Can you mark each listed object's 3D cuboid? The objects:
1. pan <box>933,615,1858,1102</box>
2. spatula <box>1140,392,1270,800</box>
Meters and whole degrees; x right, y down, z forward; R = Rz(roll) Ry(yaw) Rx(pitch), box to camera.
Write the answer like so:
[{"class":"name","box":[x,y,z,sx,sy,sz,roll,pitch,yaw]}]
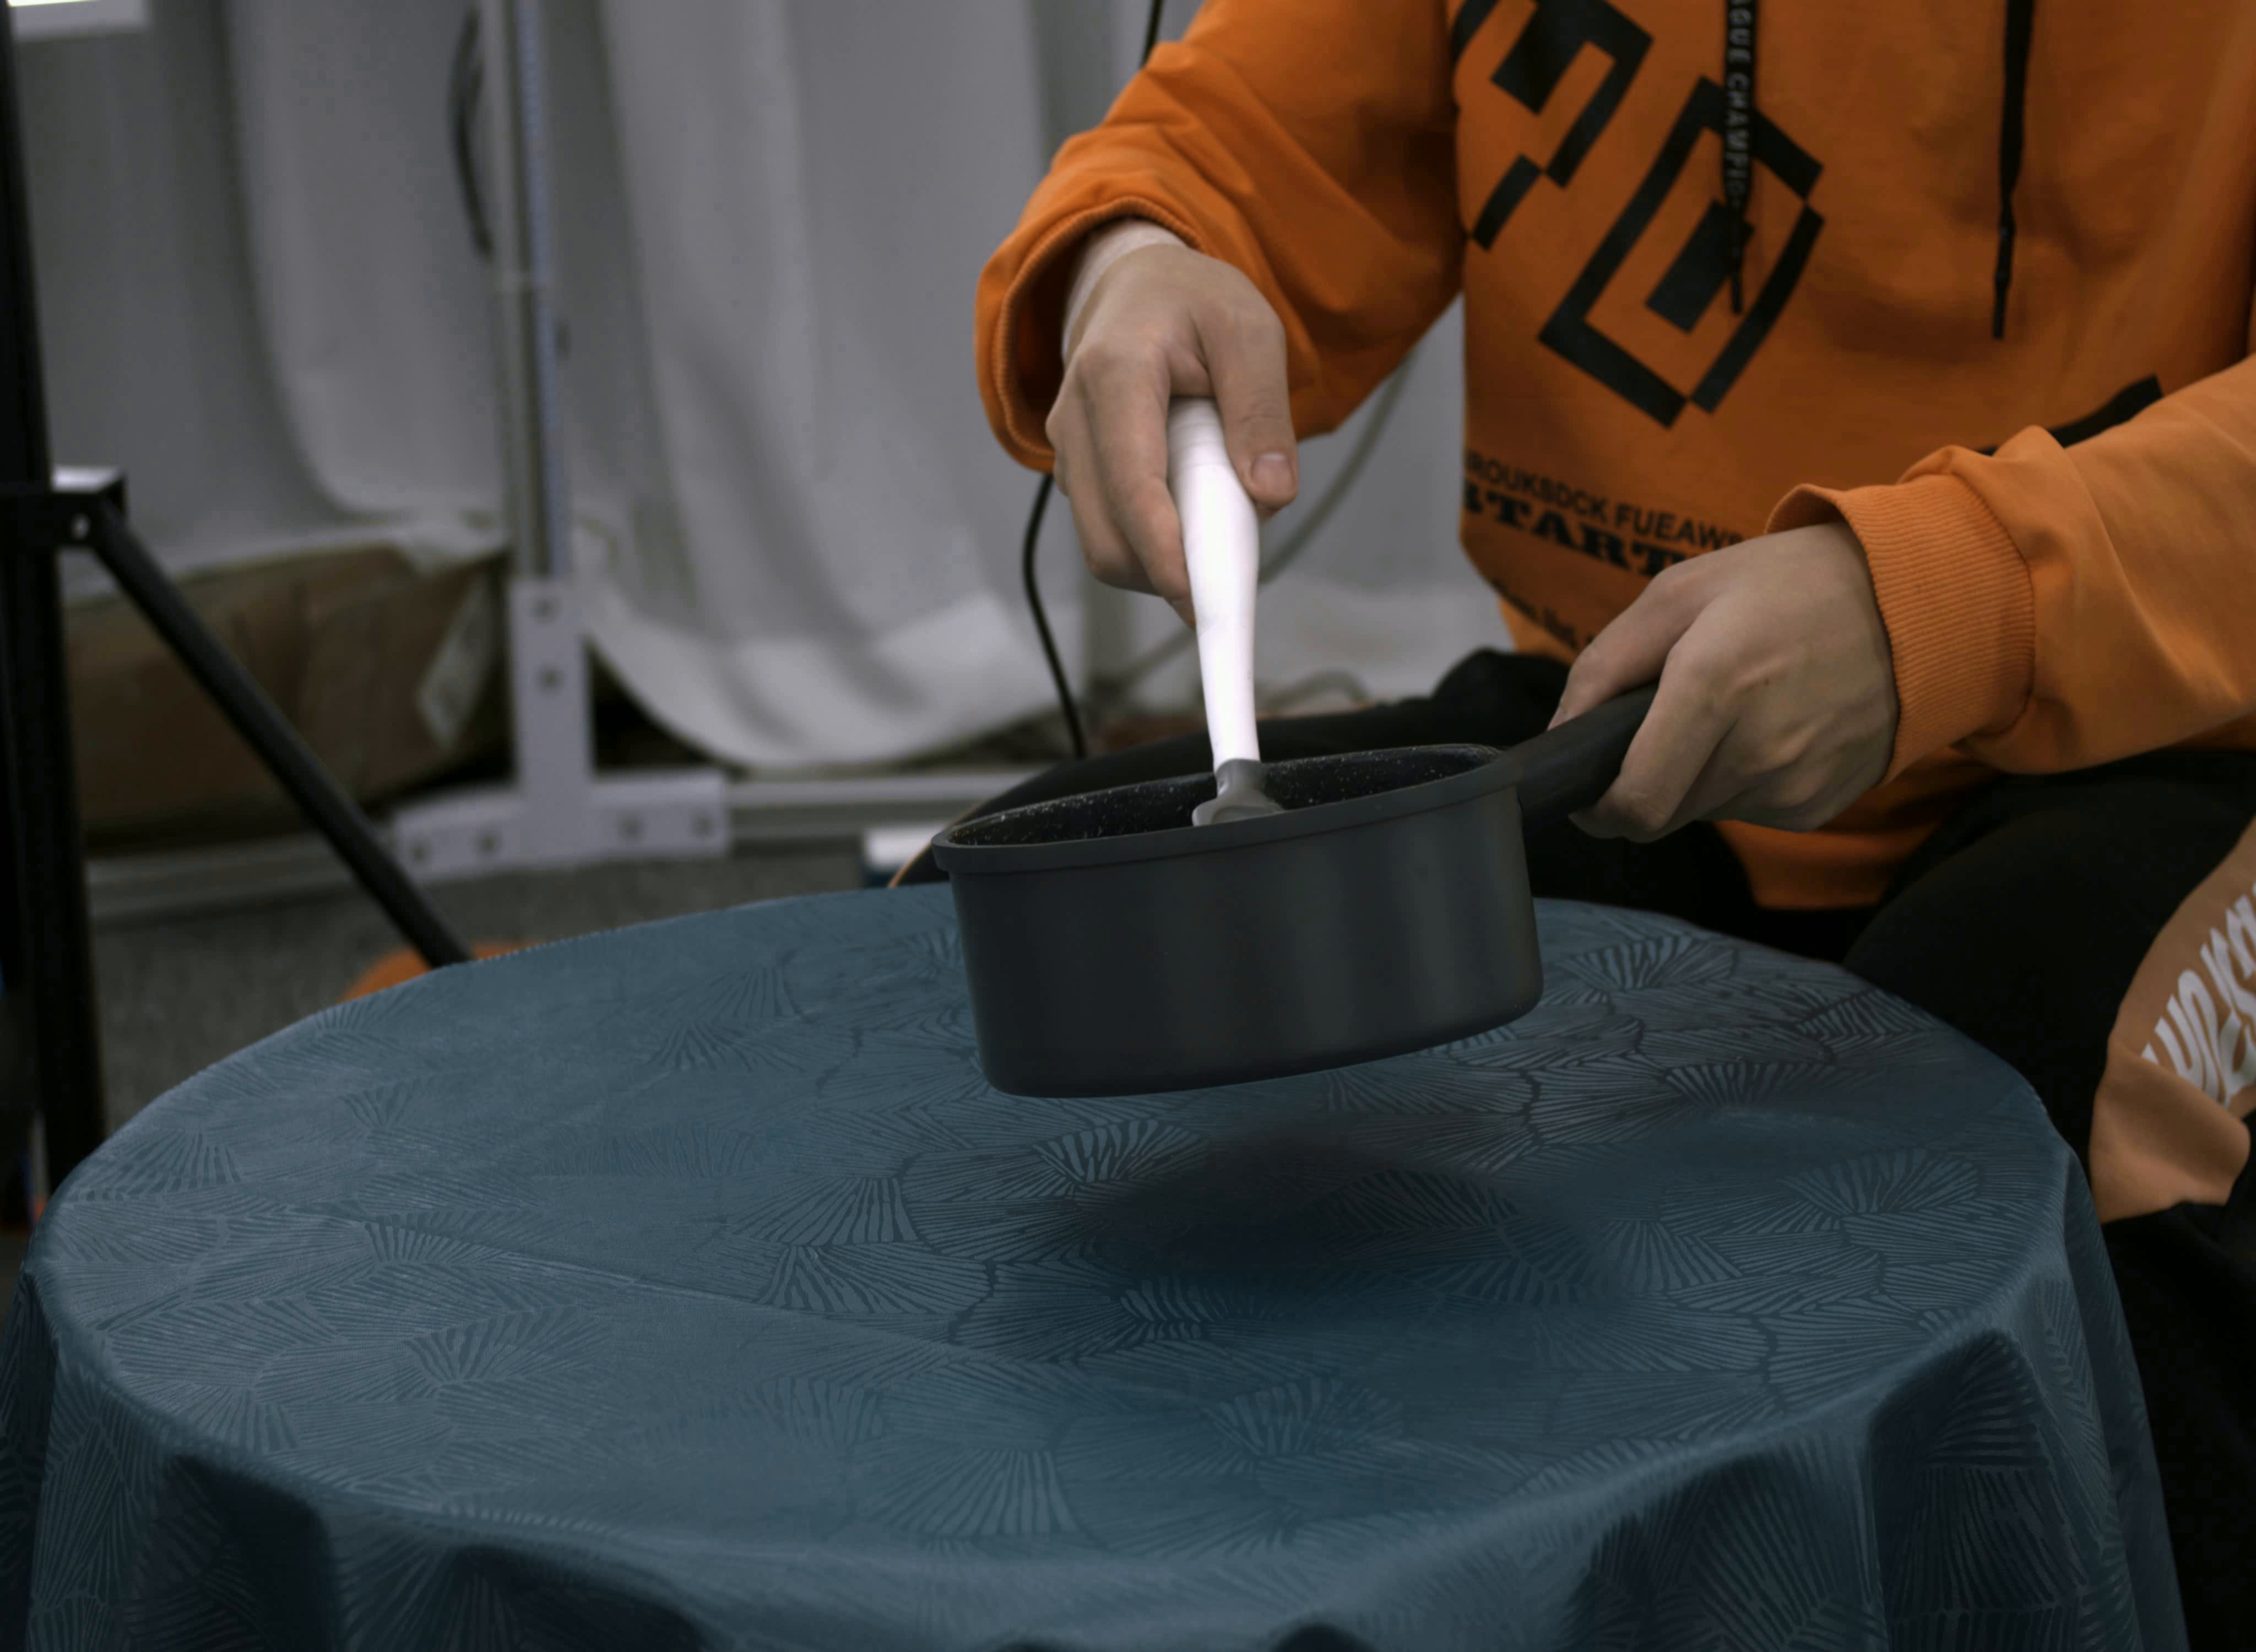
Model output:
[{"class":"pan","box":[0.095,0.010,1.560,0.321,0.086,0.175,-14,8,-35]},{"class":"spatula","box":[0.034,-0.044,1.604,0.057,0.032,0.291,22,30,-20]}]
